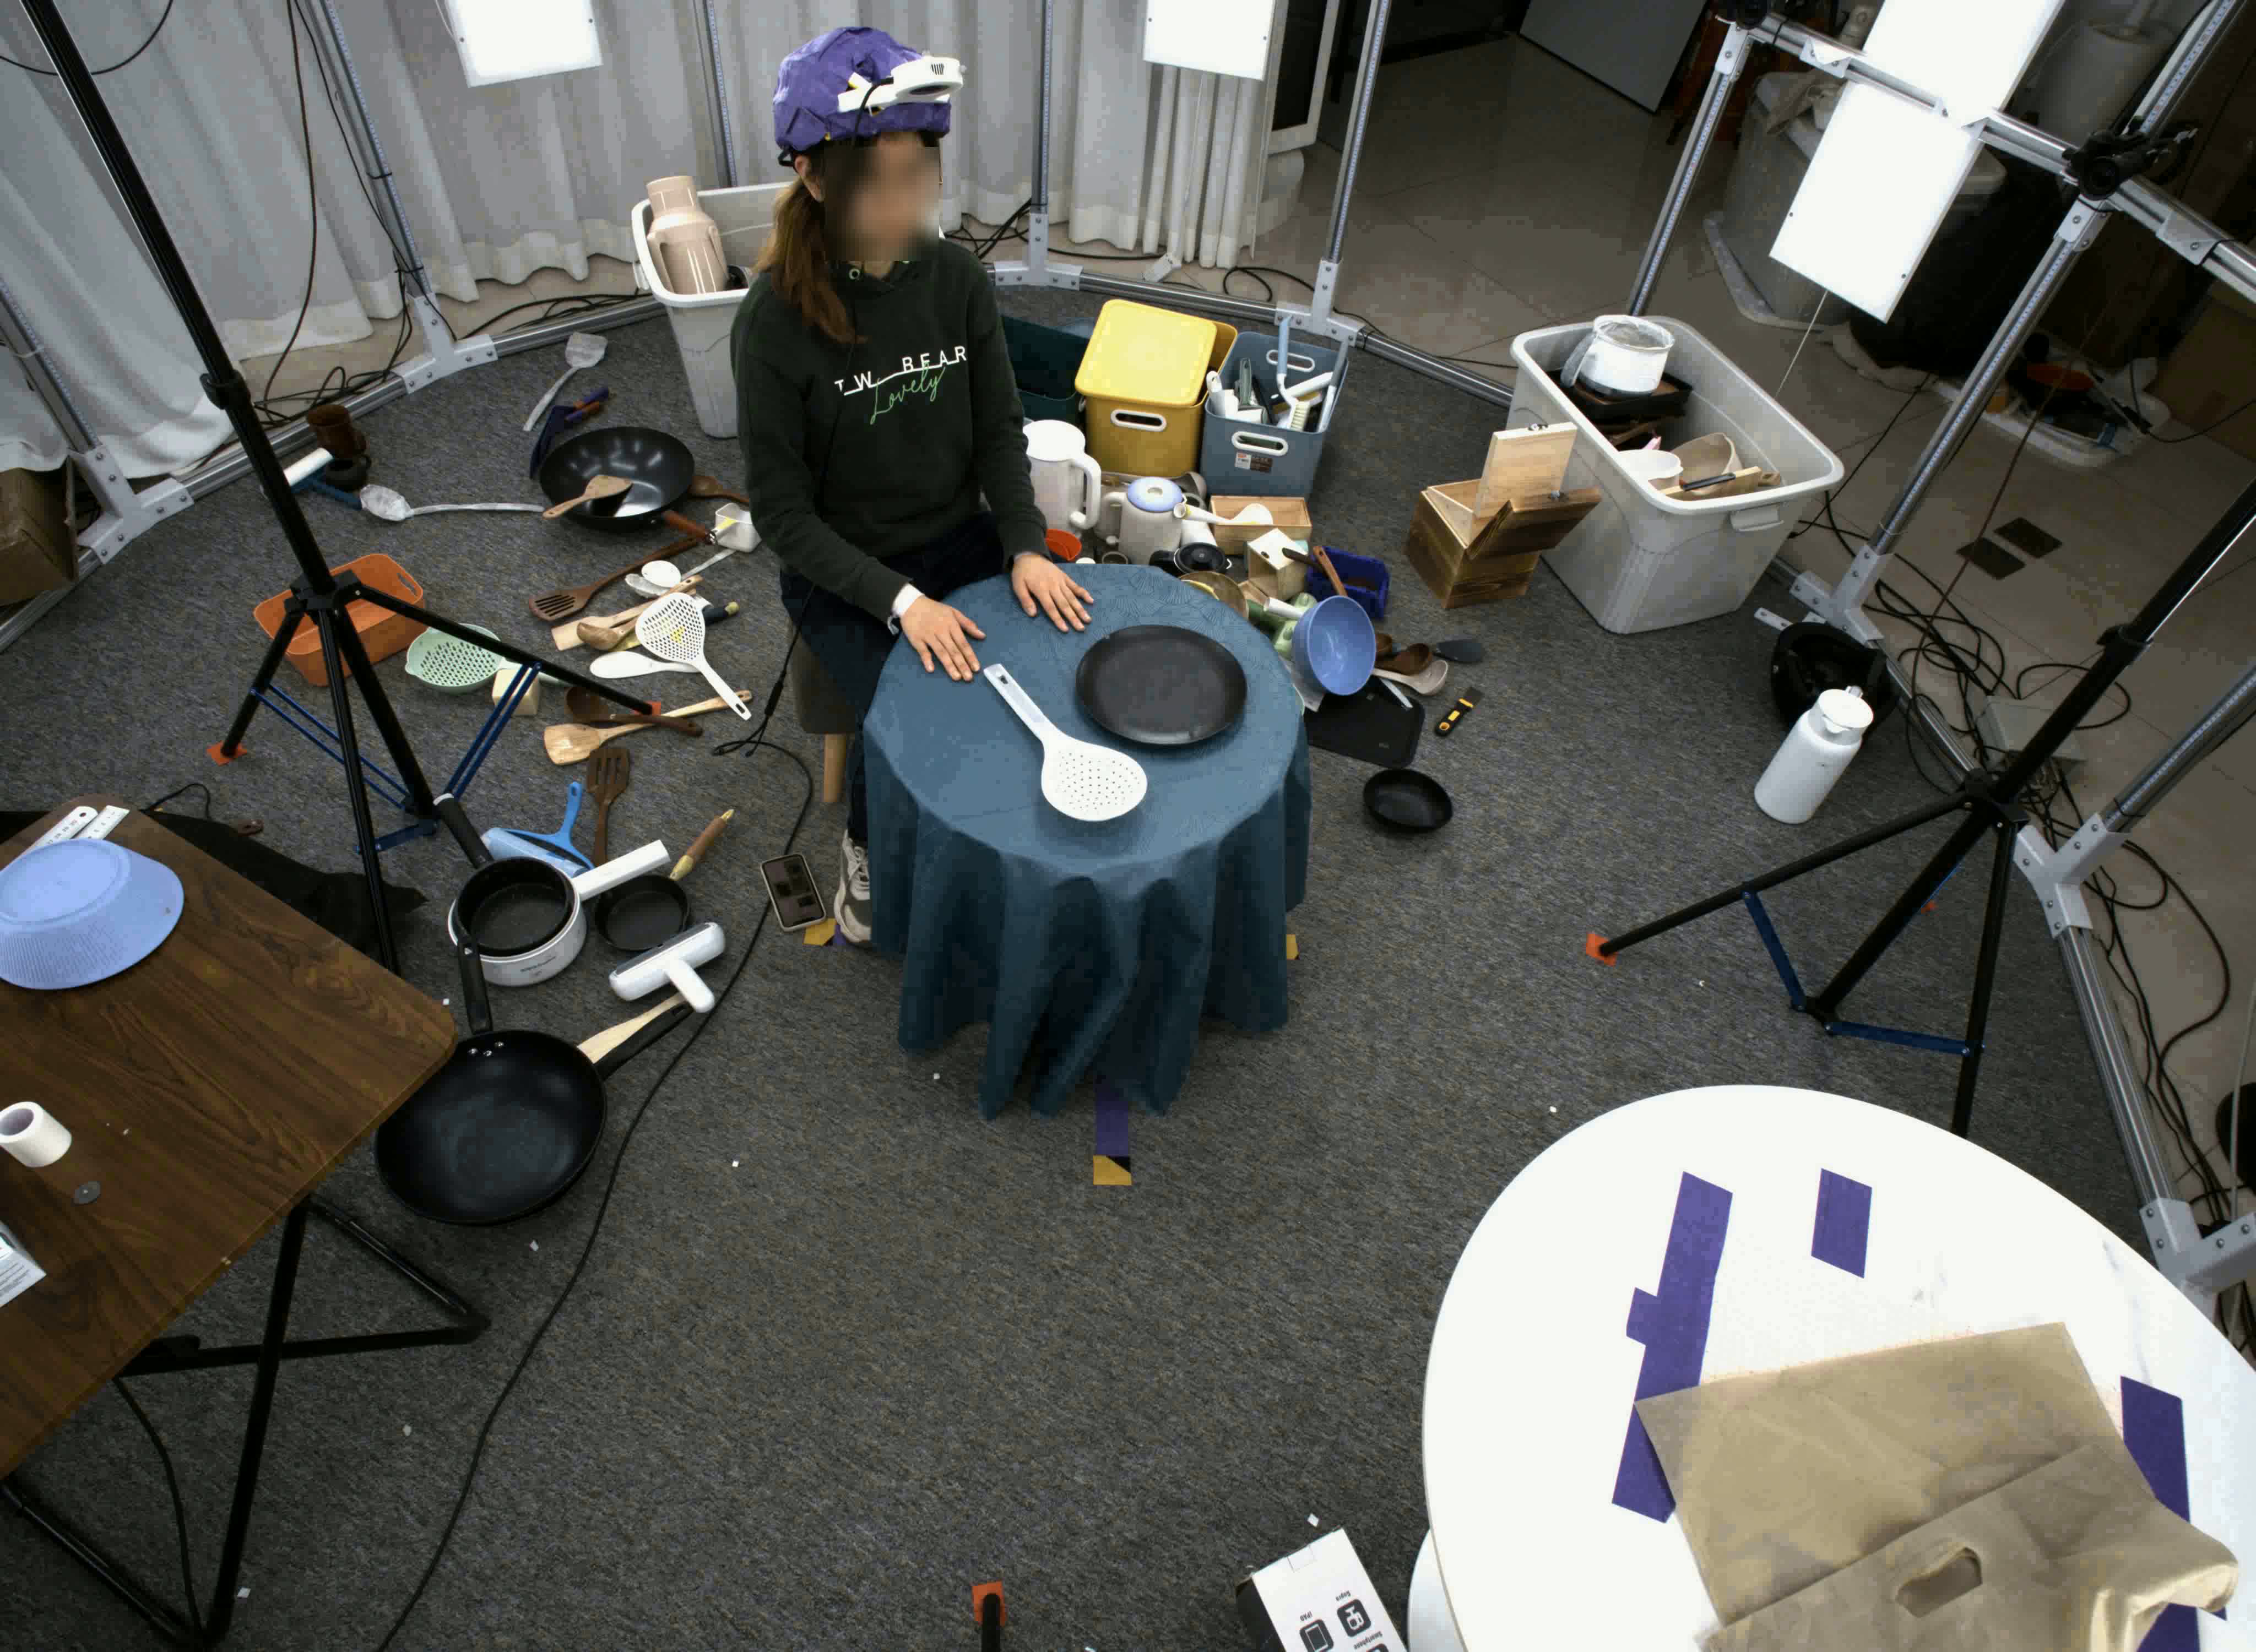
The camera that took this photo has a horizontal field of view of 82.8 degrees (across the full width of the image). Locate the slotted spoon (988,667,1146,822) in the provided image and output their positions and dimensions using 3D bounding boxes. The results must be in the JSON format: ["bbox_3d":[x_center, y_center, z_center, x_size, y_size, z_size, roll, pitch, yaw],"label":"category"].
[{"bbox_3d":[-0.101,-0.117,1.749,0.136,0.044,0.357,-21,53,-23],"label":"slotted spoon"}]

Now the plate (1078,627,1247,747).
[{"bbox_3d":[0.049,-0.198,1.845,0.244,0.023,0.250,2,49,-2],"label":"plate"}]
